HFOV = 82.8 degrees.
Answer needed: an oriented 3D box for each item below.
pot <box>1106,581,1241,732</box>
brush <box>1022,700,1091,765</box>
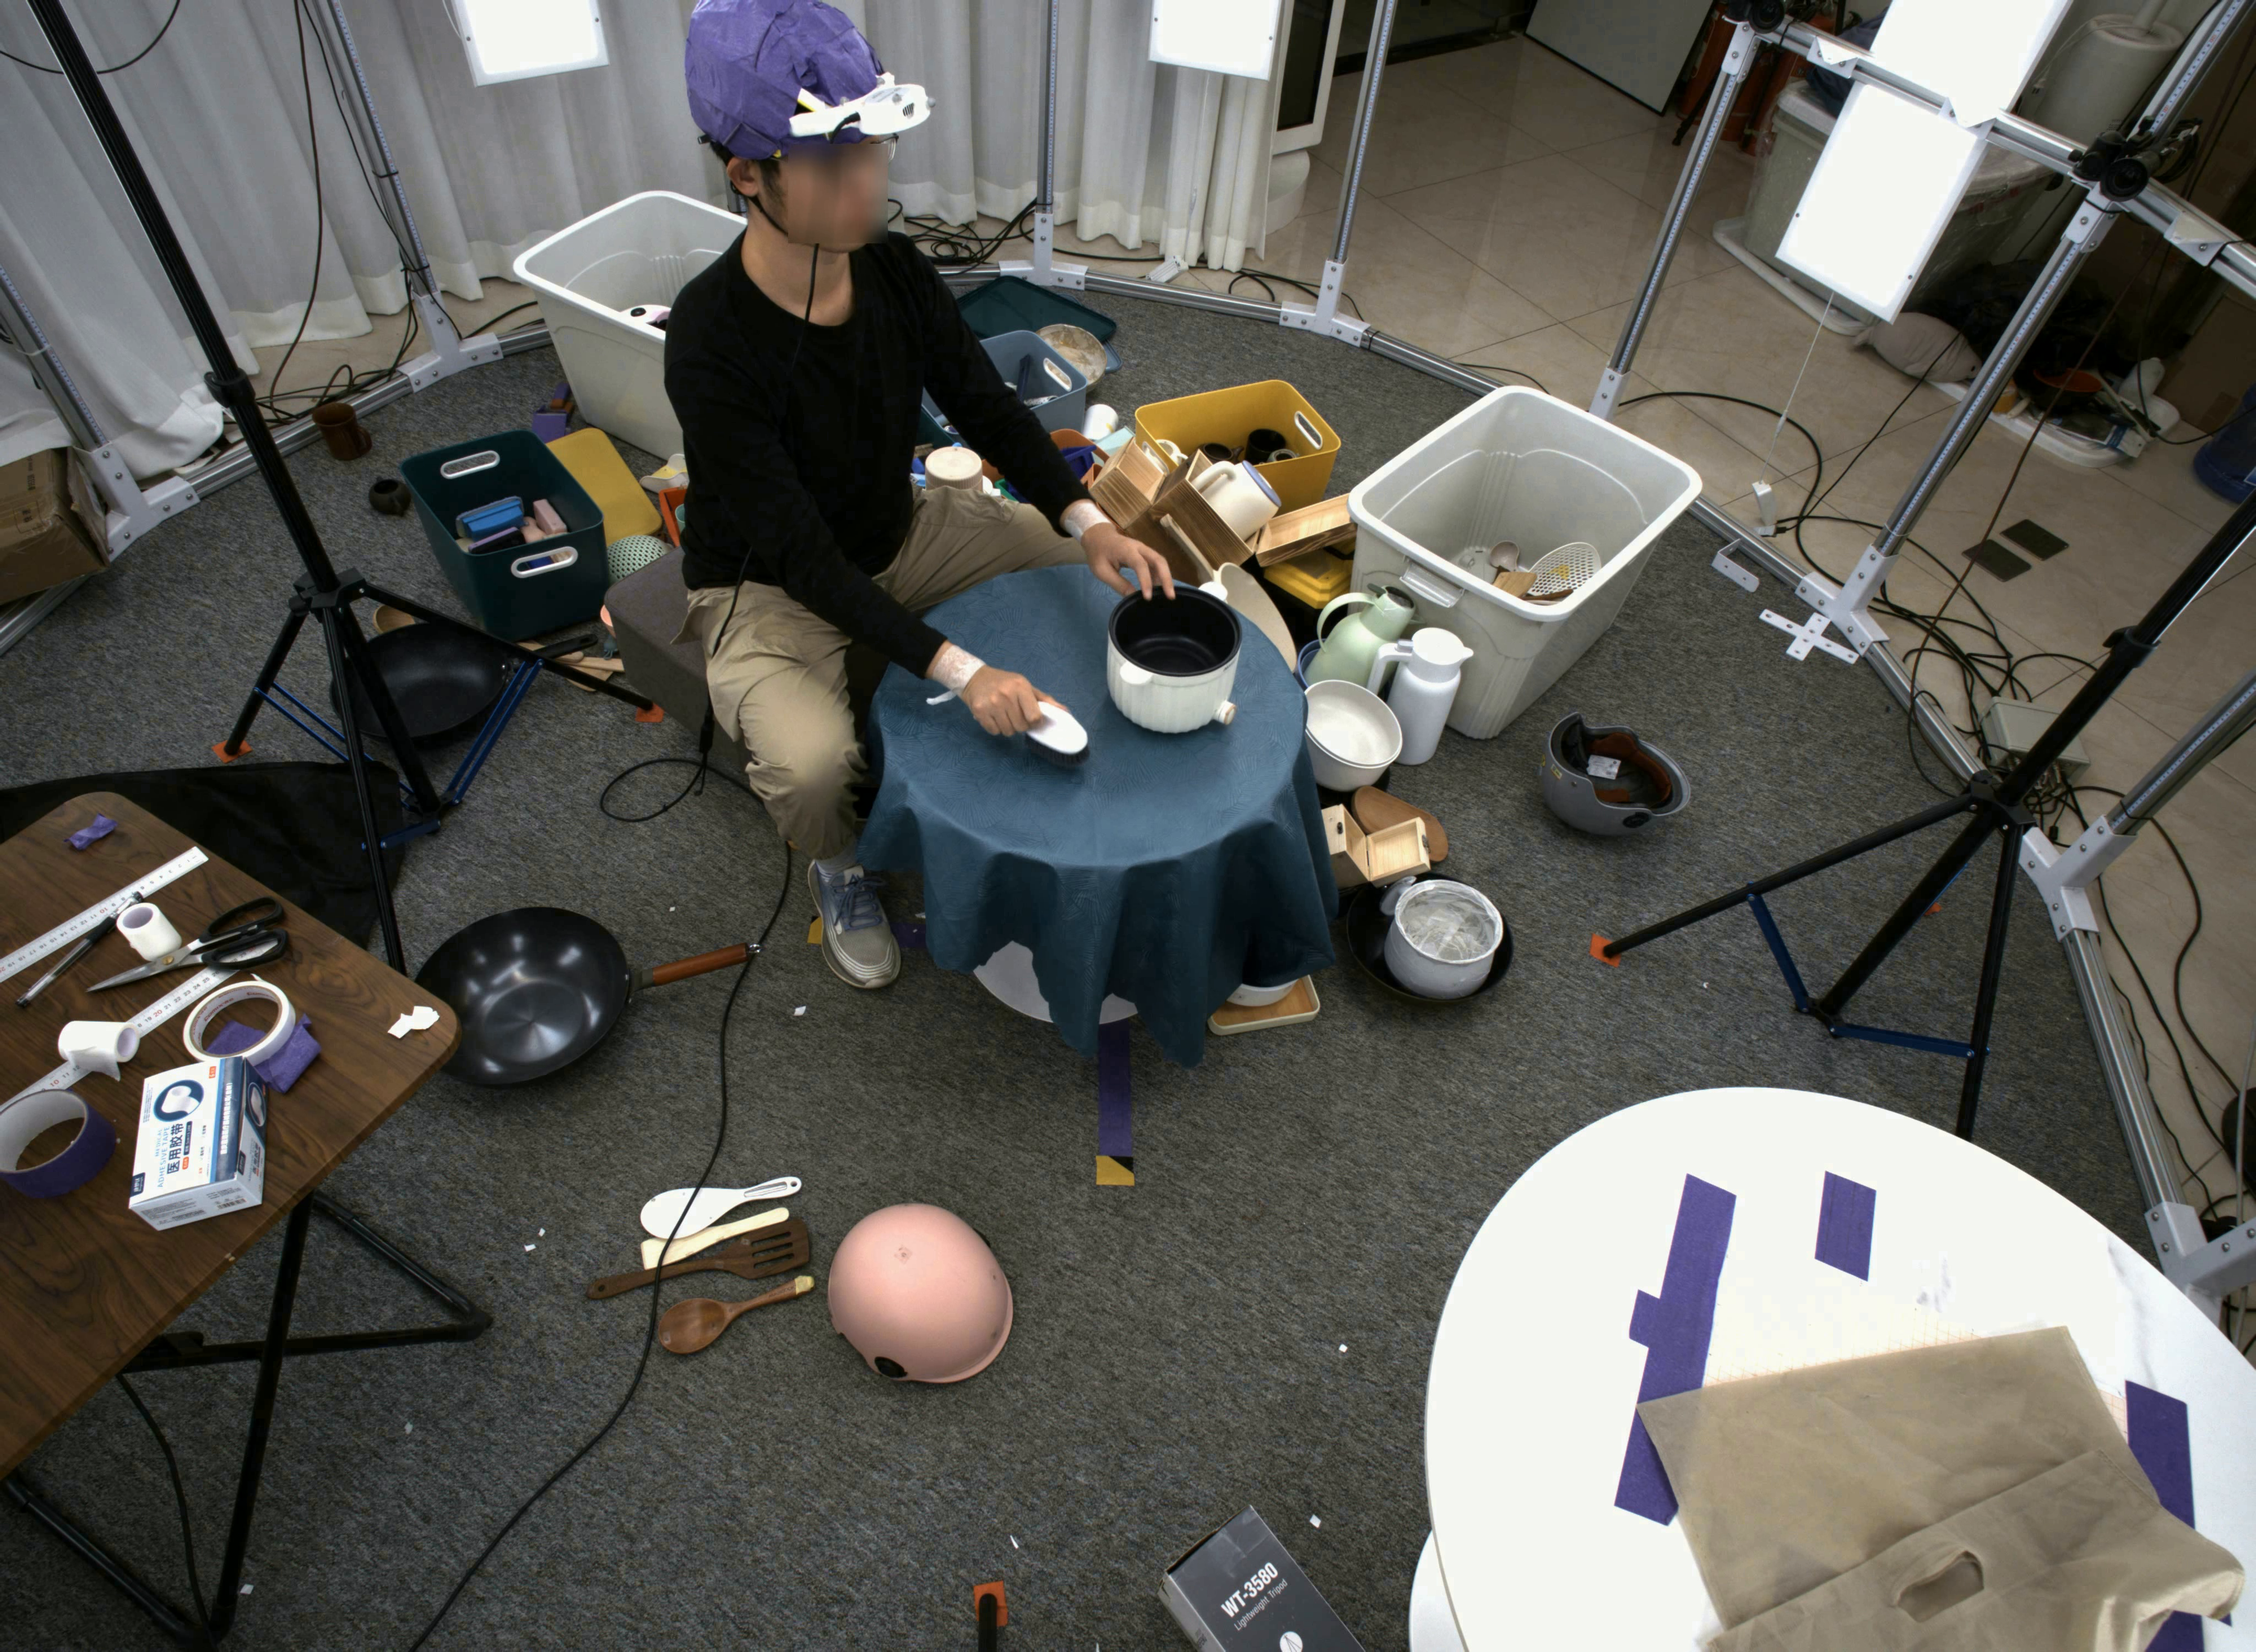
[{"bbox_3d":[0.064,-0.224,1.779,0.192,0.139,0.244,26,53,20],"label":"pot"},{"bbox_3d":[-0.098,-0.132,1.701,0.100,0.071,0.051,29,60,29],"label":"brush"}]
